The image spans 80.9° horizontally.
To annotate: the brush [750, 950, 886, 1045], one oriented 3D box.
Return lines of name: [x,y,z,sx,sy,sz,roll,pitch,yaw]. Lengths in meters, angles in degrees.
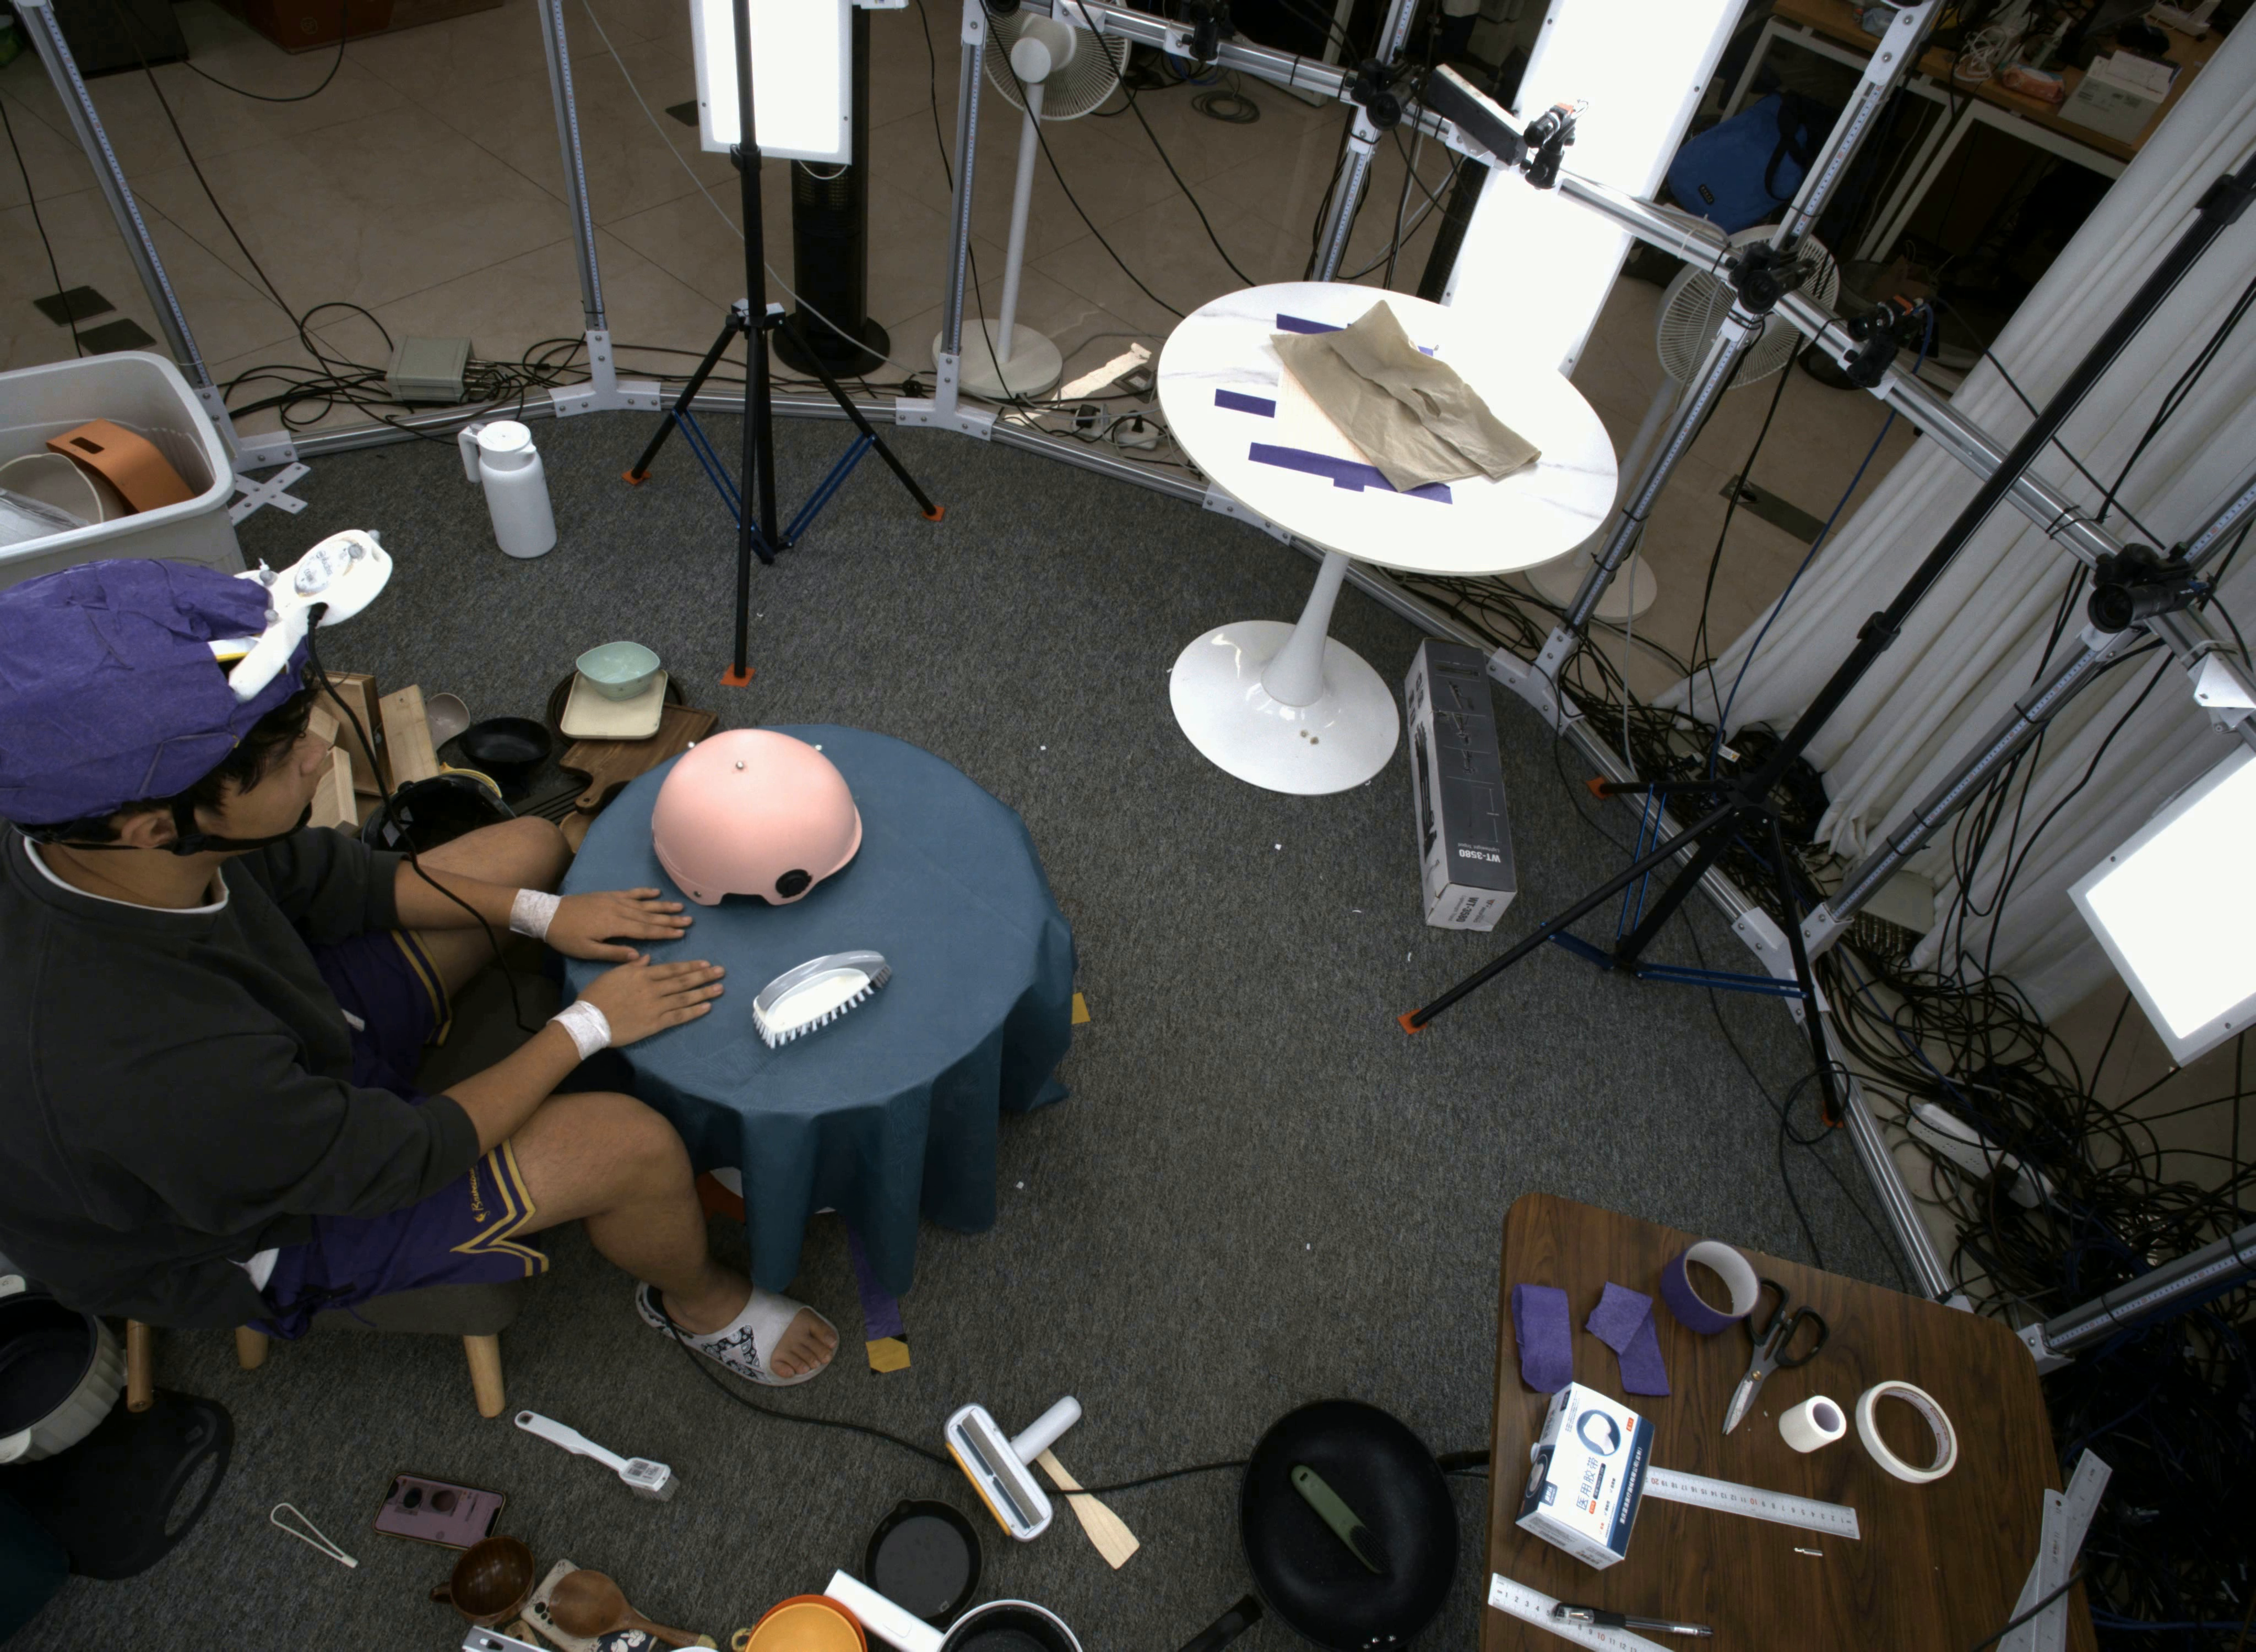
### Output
brush: [-0.364,0.184,1.548,0.176,0.096,0.060,-24,61,-30]

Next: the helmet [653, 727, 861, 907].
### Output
helmet: [-0.469,-0.032,1.644,0.268,0.162,0.228,-8,55,-24]
